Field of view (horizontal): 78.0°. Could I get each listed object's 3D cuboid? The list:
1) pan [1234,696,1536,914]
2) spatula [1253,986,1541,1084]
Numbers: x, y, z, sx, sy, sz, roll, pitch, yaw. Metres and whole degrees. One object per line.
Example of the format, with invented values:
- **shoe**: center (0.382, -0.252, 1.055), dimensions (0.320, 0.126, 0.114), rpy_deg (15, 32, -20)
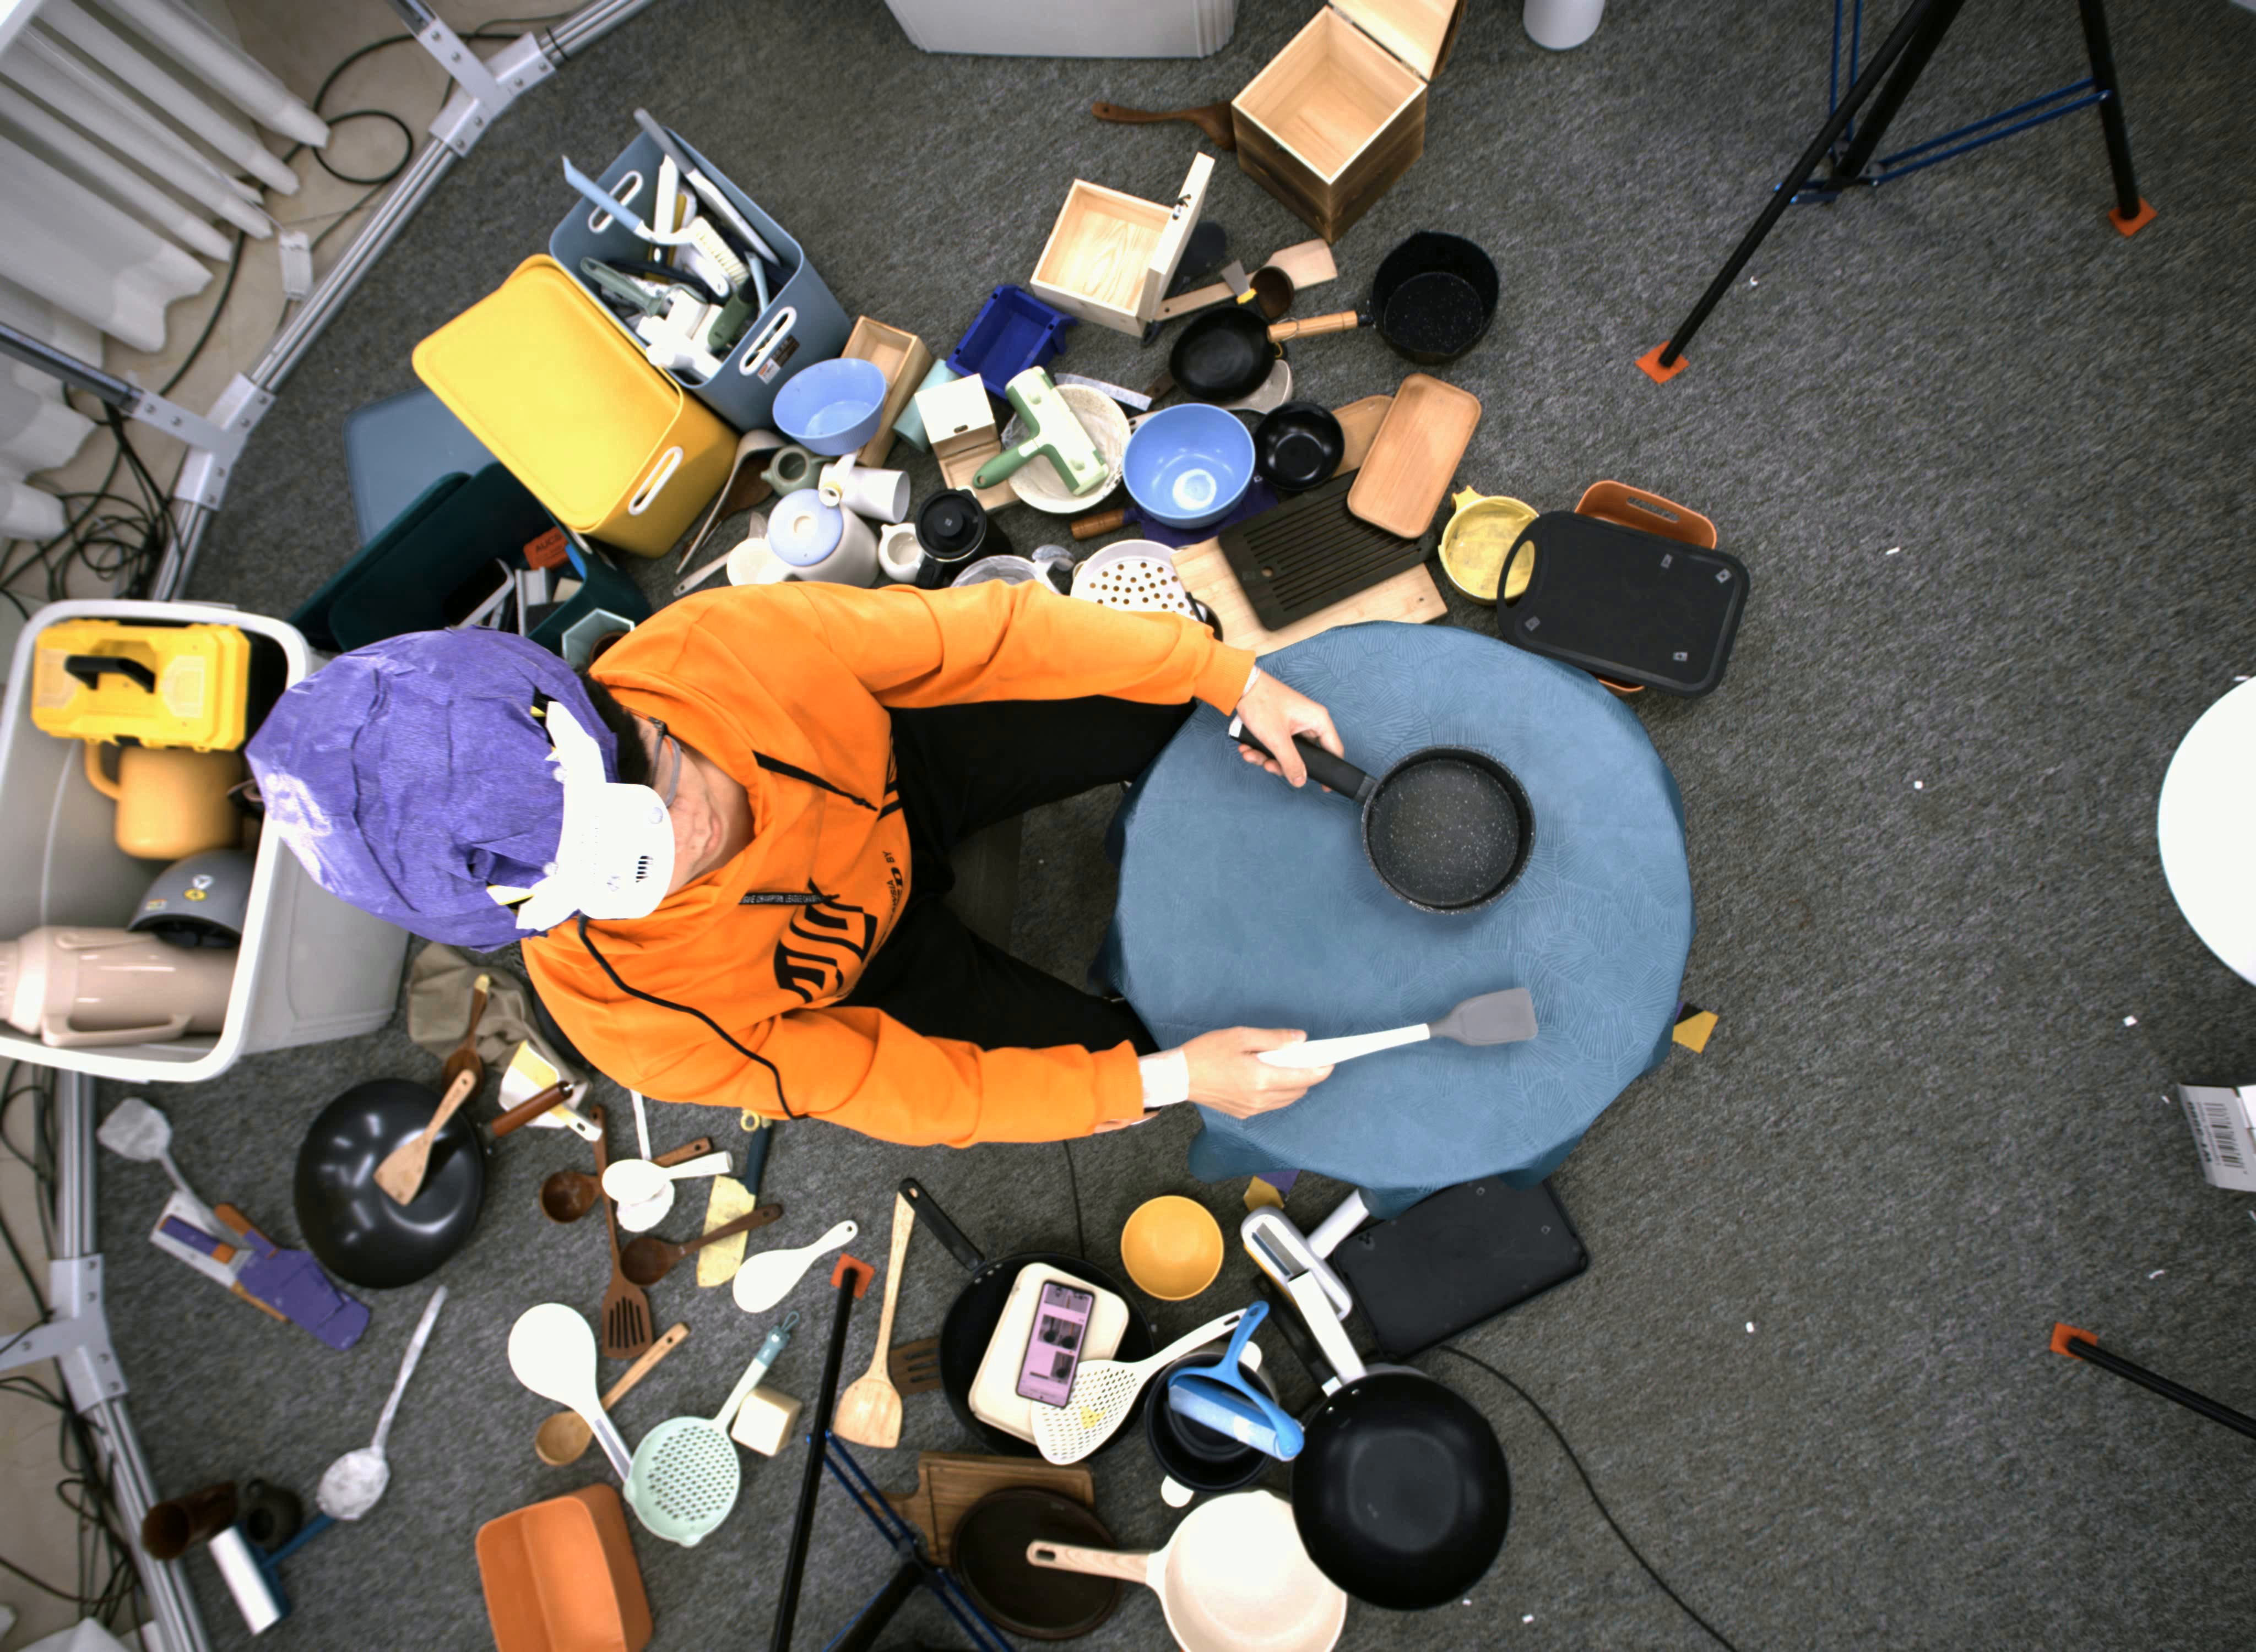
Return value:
- **pan**: center (0.257, -0.036, 1.419), dimensions (0.328, 0.086, 0.172), rpy_deg (30, 94, 7)
- **spatula**: center (0.268, 0.212, 1.387), dimensions (0.288, 0.032, 0.058), rpy_deg (-12, 79, 2)
